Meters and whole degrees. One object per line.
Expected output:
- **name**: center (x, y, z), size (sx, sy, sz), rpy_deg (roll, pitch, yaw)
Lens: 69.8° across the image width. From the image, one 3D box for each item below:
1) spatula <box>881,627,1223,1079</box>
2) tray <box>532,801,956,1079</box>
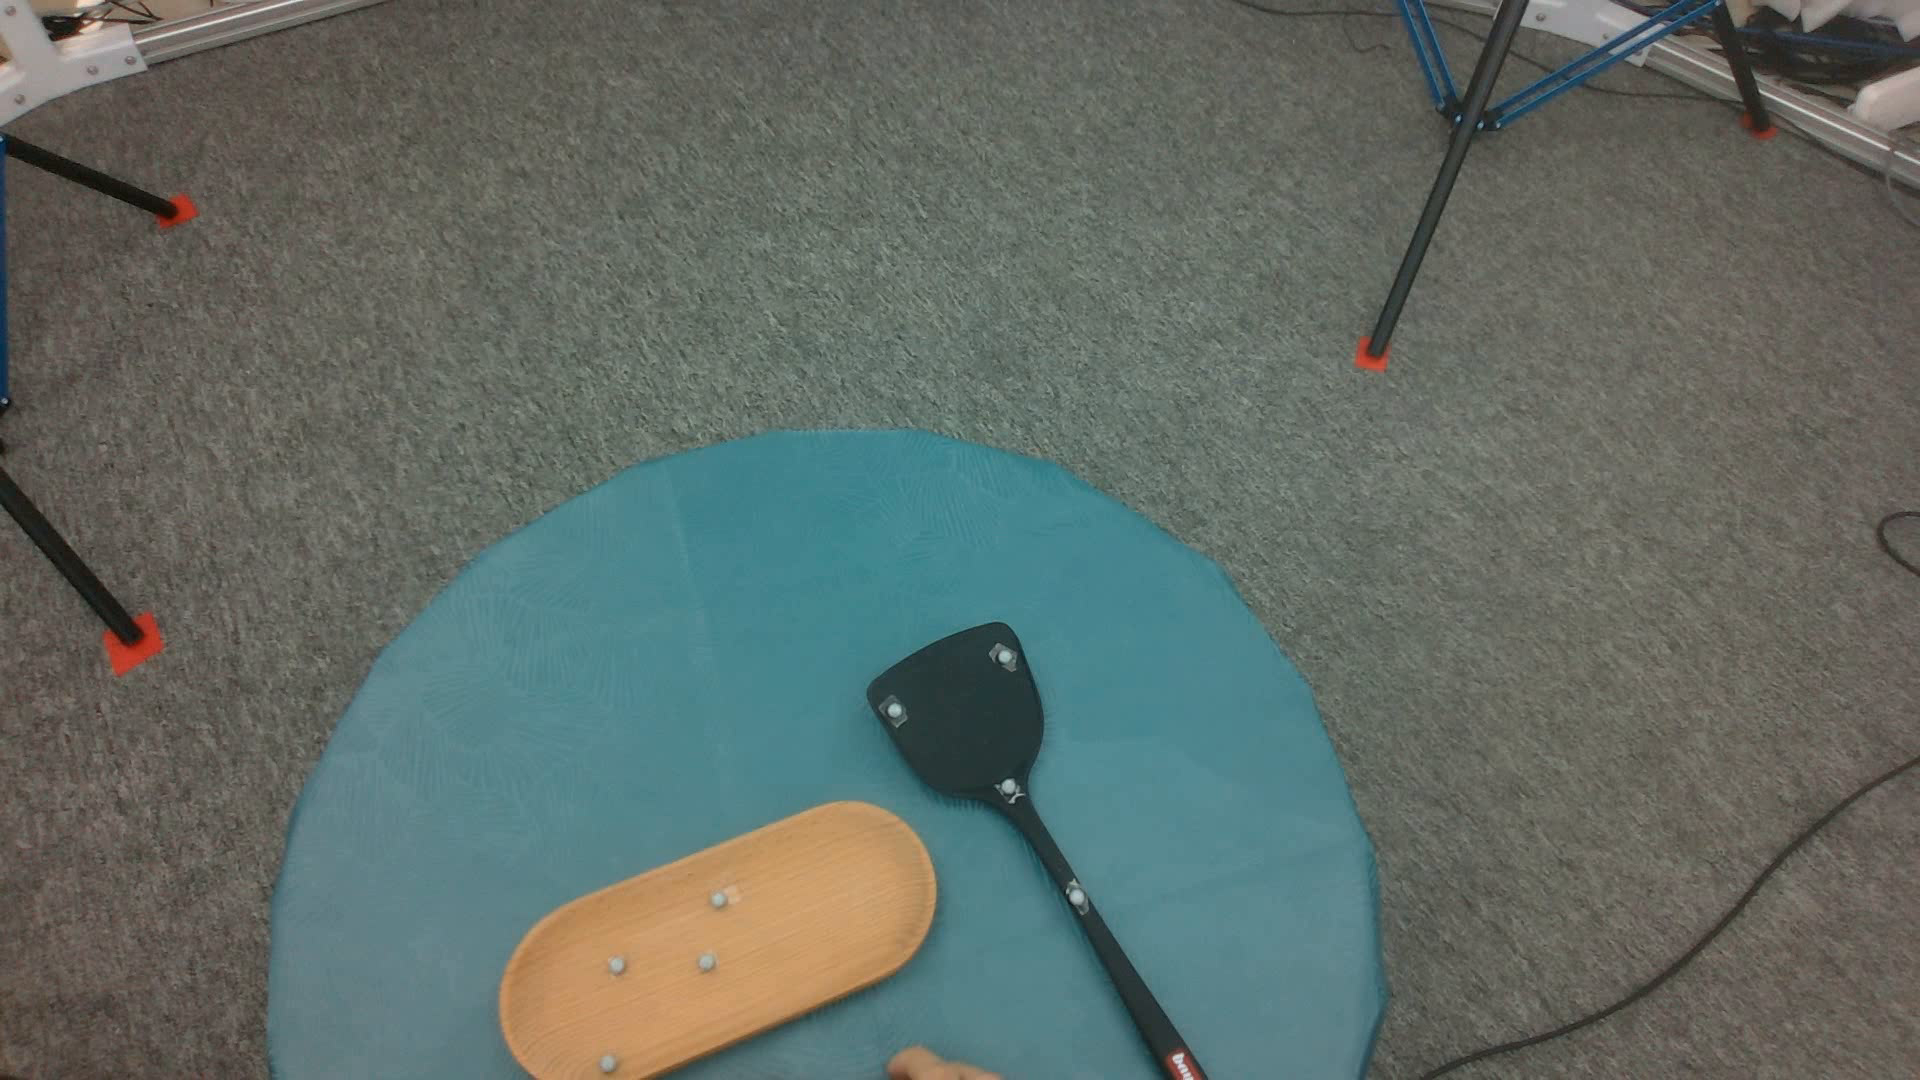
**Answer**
- **spatula**: center (0.071, 0.193, 0.751), size (0.100, 0.040, 0.327), rpy_deg (-25, 60, -17)
- **tray**: center (-0.113, 0.214, 0.742), size (0.231, 0.020, 0.102), rpy_deg (-18, 59, -15)
